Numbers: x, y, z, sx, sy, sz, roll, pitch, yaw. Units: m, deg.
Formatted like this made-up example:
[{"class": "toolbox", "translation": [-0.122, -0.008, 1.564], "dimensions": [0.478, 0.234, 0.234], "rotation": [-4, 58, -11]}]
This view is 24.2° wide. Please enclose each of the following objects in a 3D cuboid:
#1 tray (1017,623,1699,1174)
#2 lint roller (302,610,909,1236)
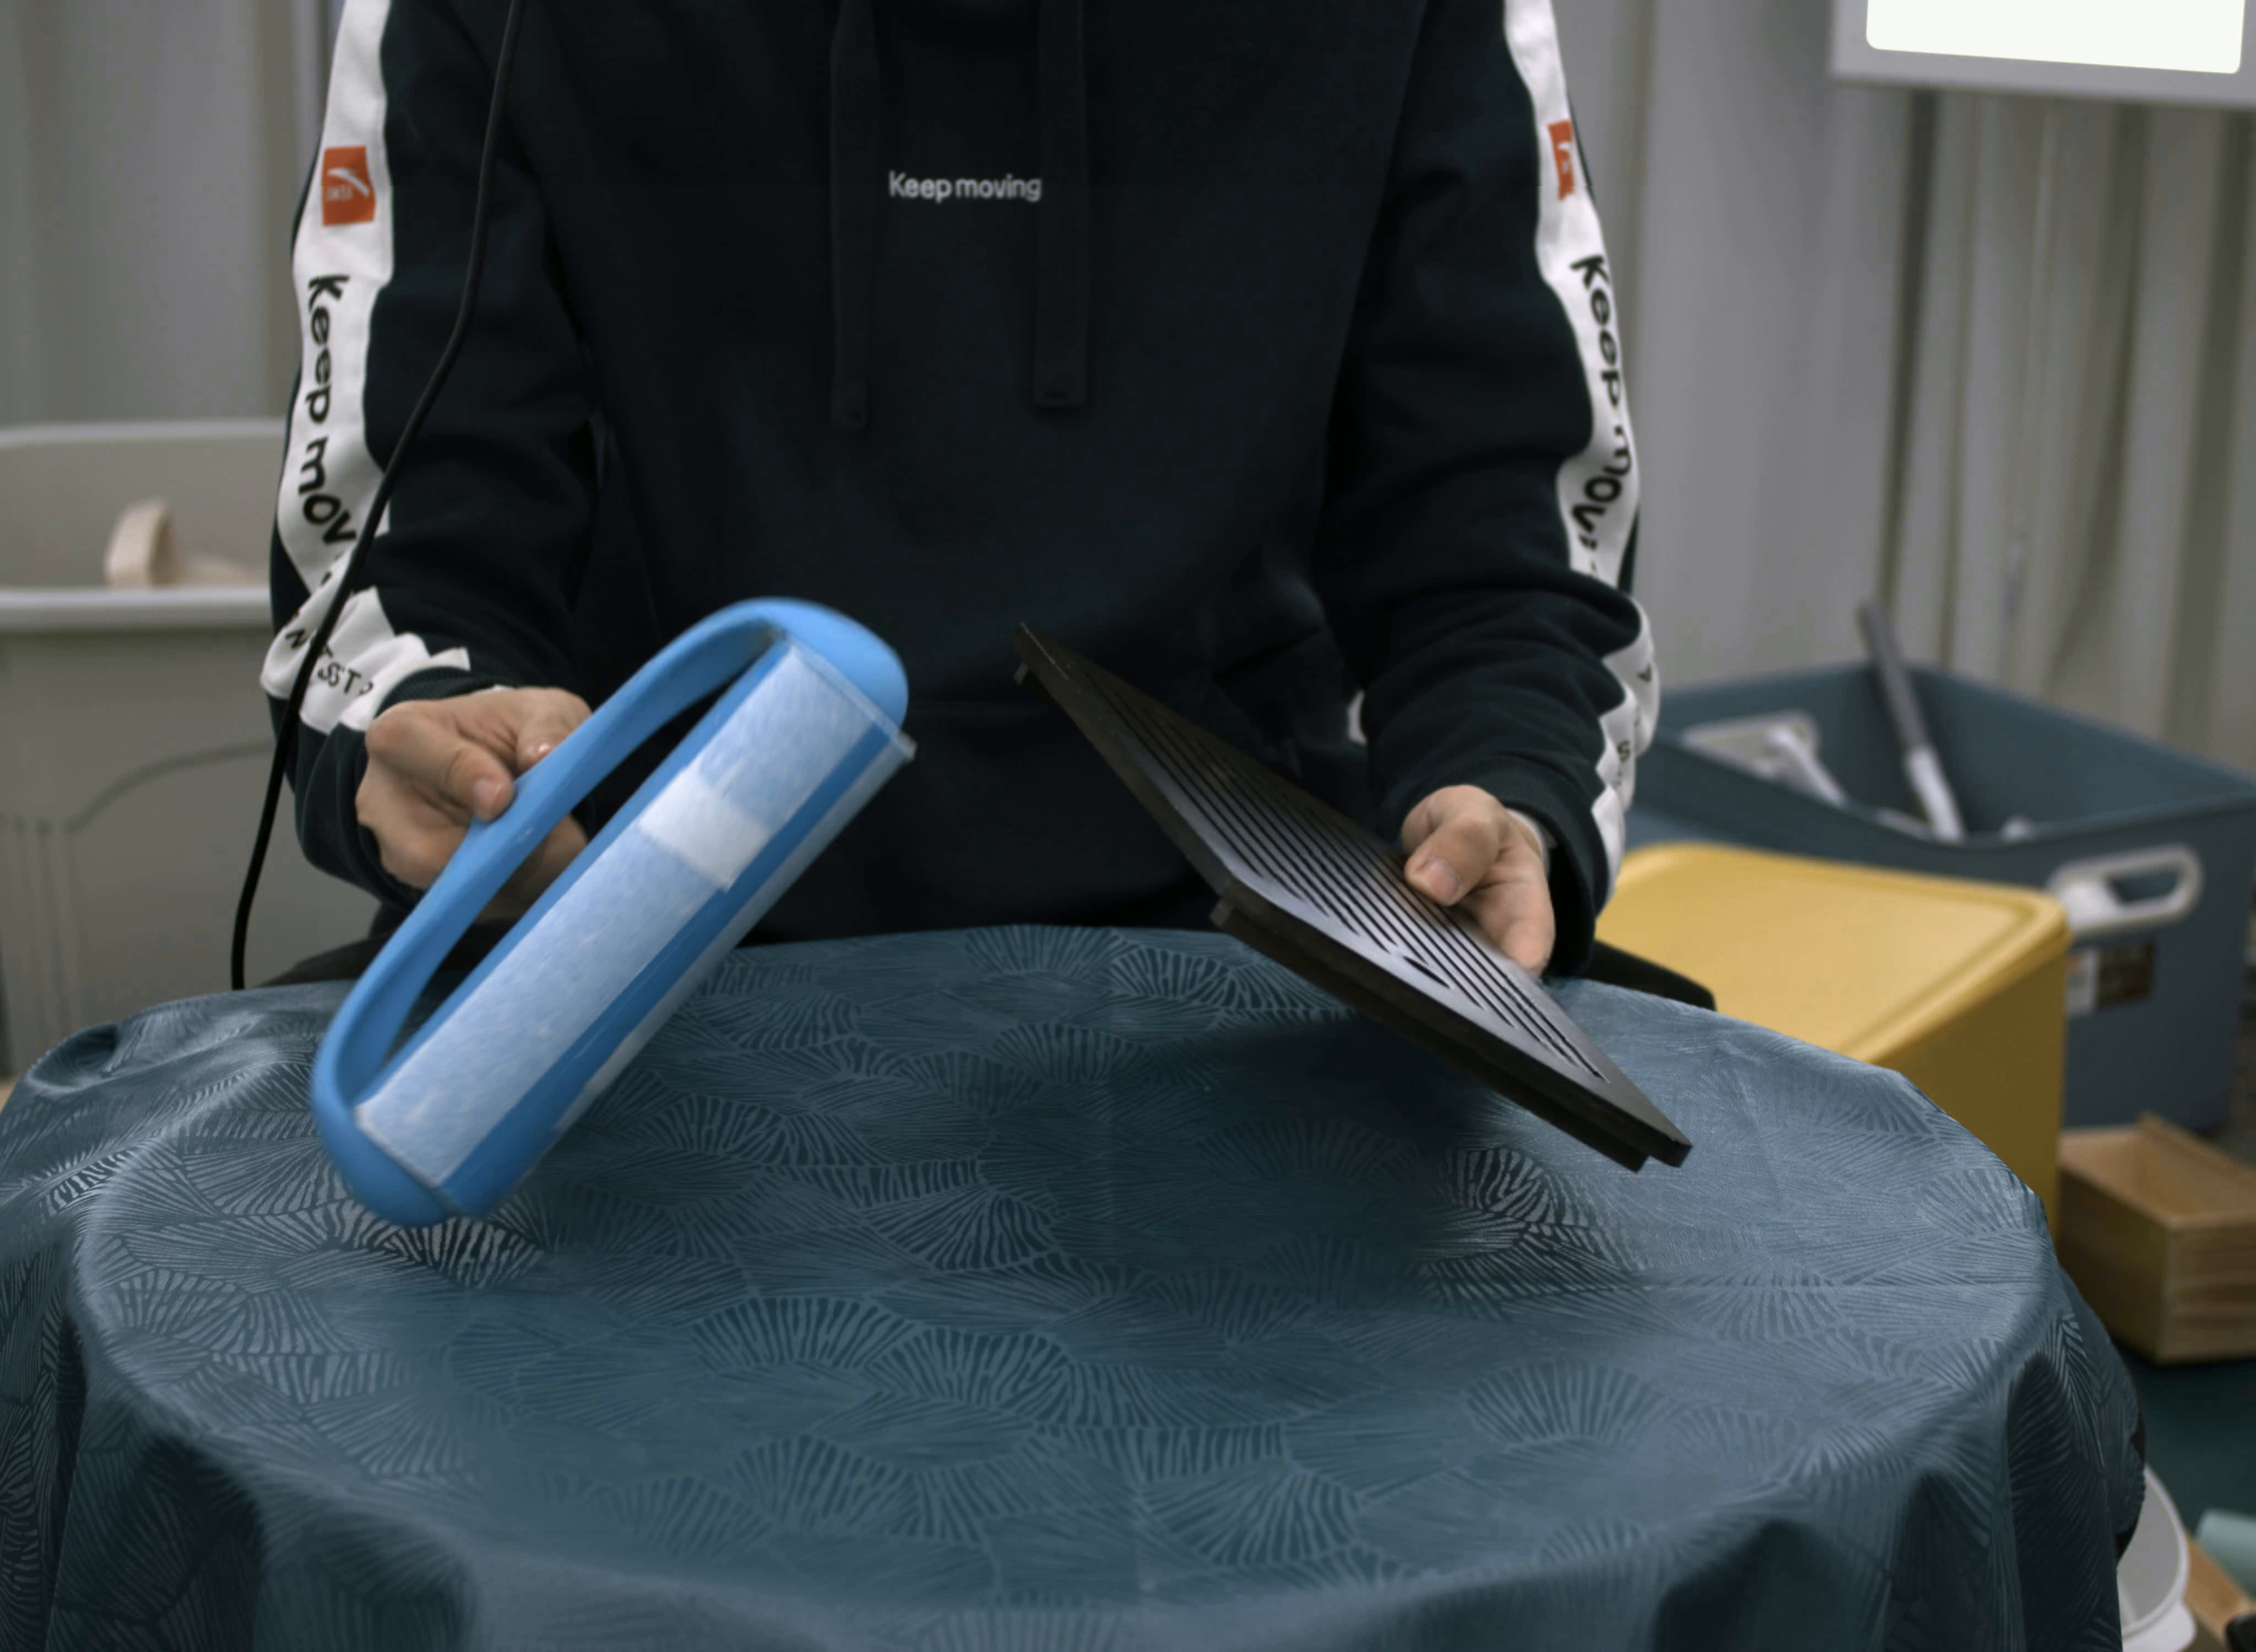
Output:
[{"class": "tray", "translation": [0.062, 0.020, 1.635], "dimensions": [0.171, 0.018, 0.303], "rotation": [31, 7, -21]}, {"class": "lint roller", "translation": [-0.176, 0.019, 1.618], "dimensions": [0.229, 0.069, 0.178], "rotation": [-49, 27, -8]}]
